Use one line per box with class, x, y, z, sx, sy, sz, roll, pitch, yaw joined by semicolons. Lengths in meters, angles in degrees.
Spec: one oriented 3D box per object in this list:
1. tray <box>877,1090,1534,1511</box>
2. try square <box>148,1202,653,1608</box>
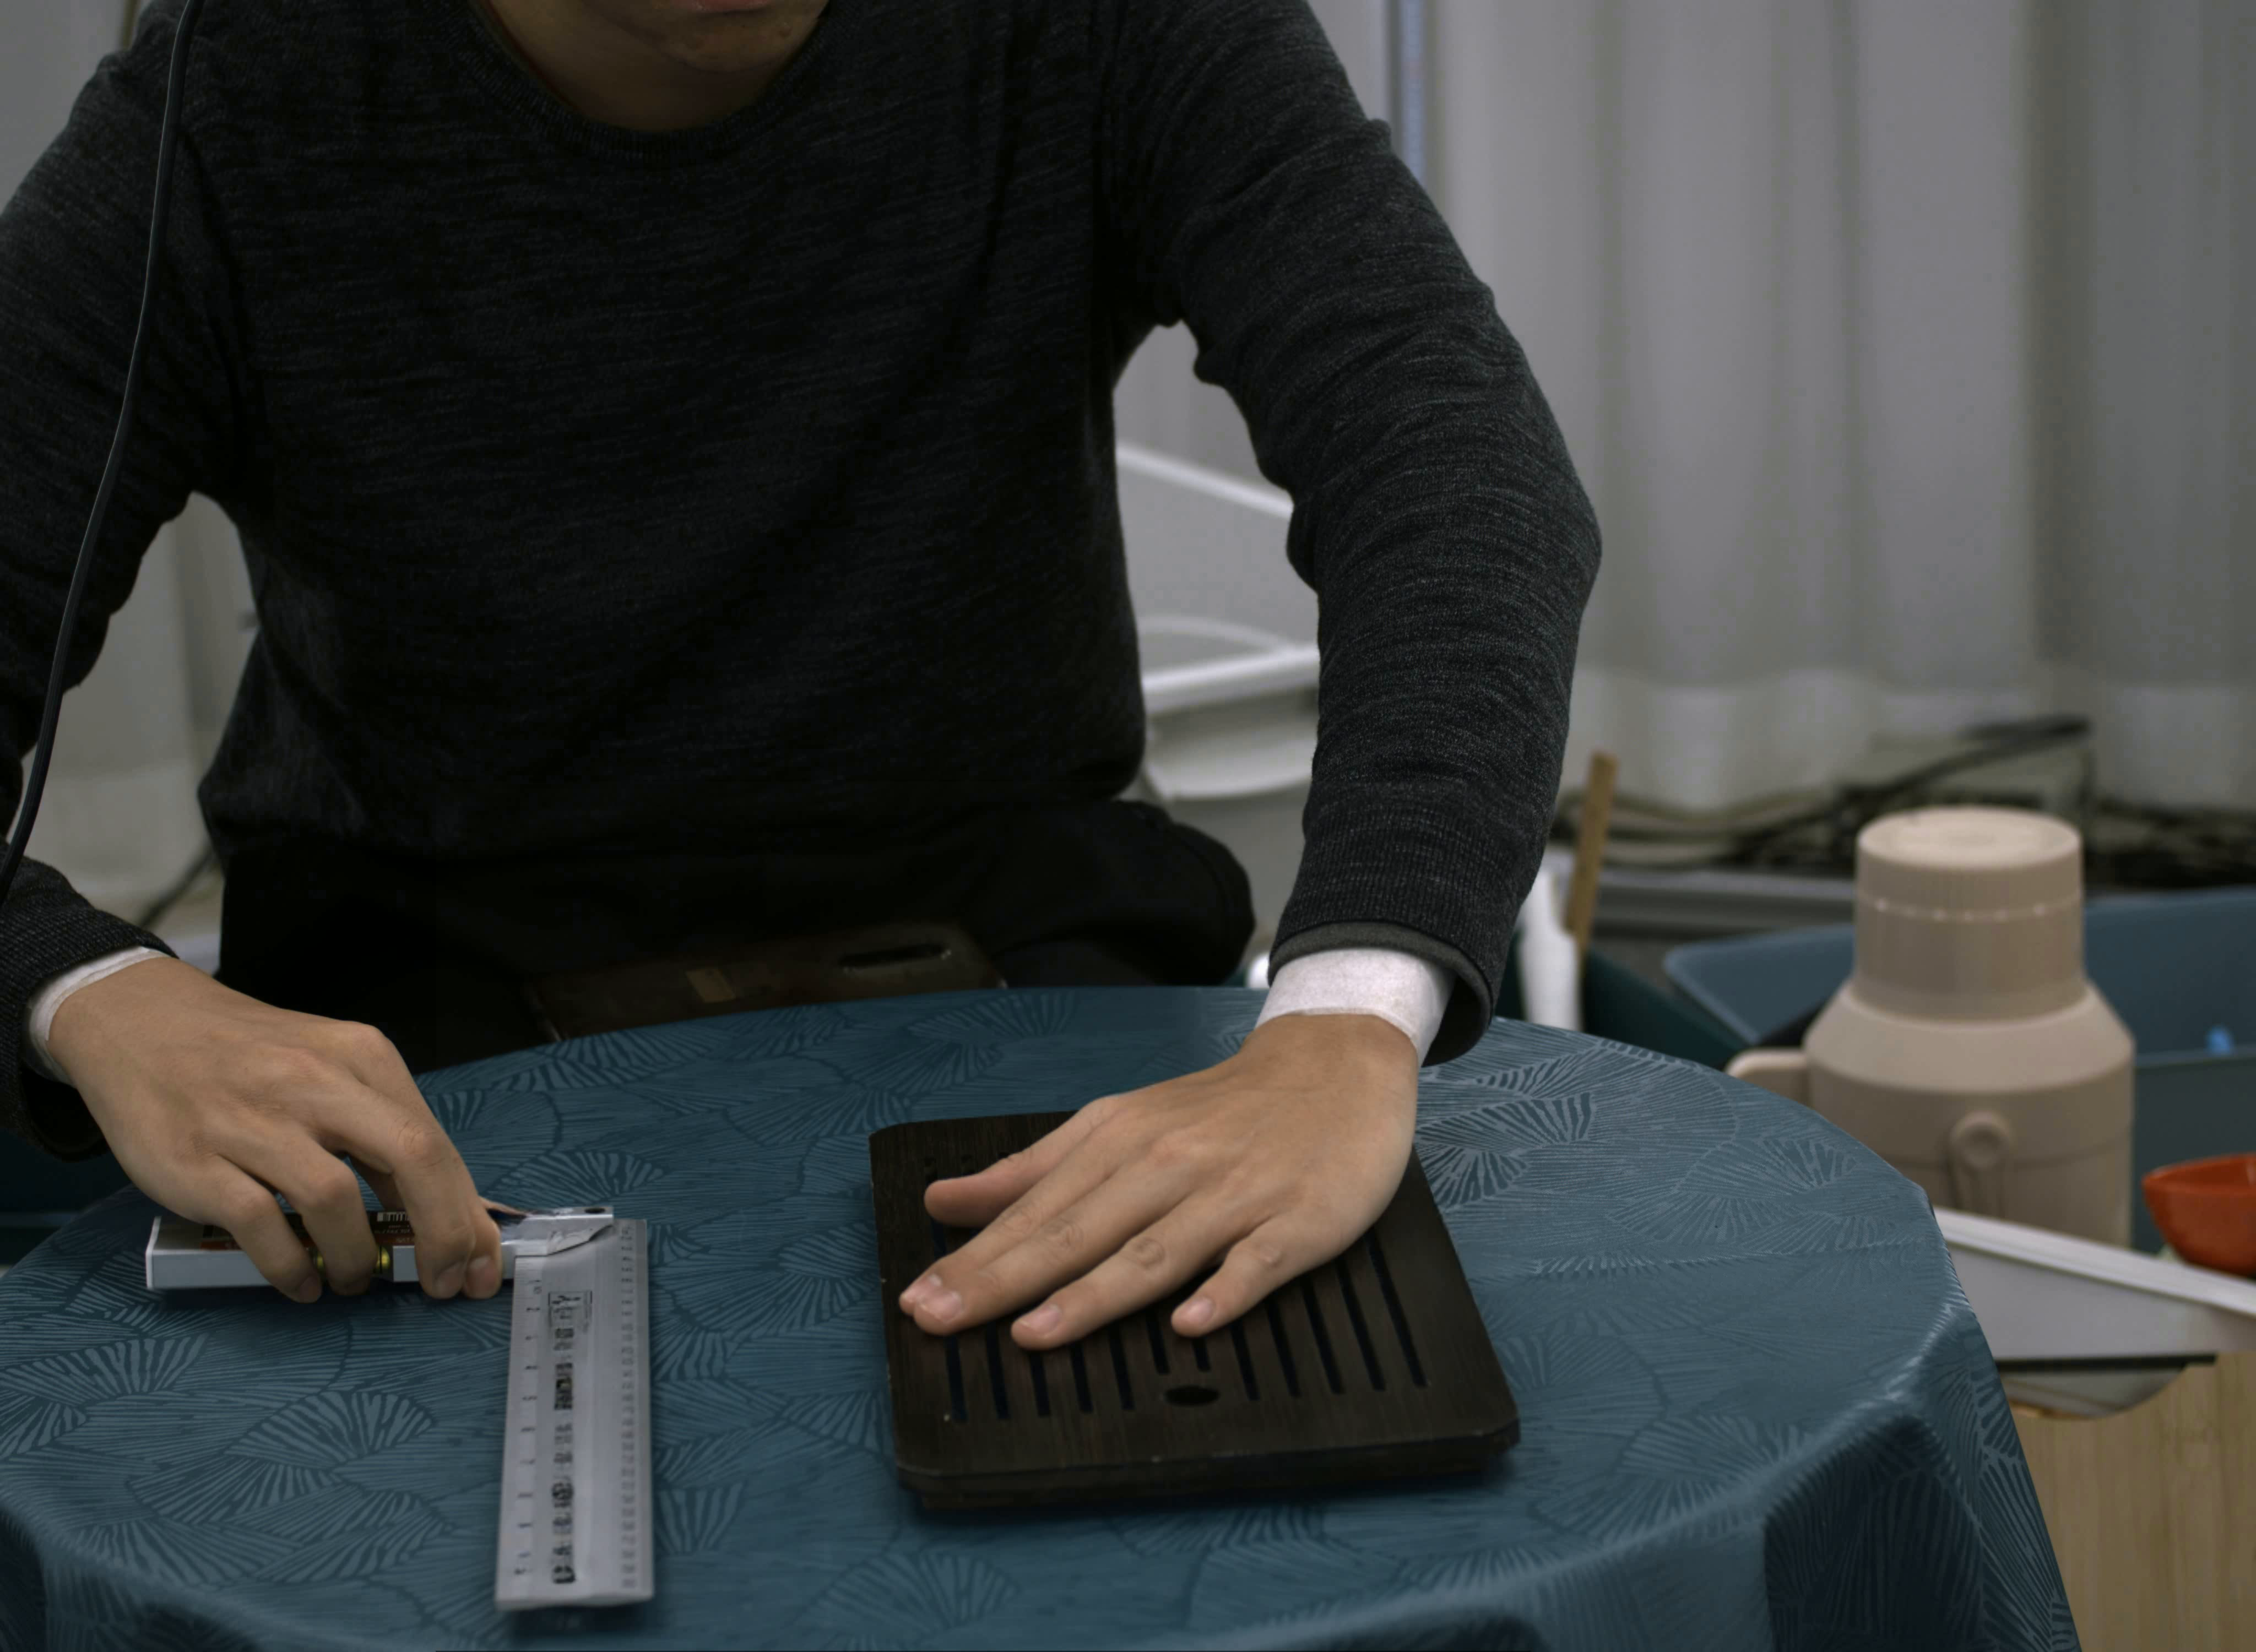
tray;0.015;0.136;1.598;0.169;0.018;0.308;-4;15;-3
try square;-0.209;0.159;1.536;0.151;0.016;0.315;1;14;-5
